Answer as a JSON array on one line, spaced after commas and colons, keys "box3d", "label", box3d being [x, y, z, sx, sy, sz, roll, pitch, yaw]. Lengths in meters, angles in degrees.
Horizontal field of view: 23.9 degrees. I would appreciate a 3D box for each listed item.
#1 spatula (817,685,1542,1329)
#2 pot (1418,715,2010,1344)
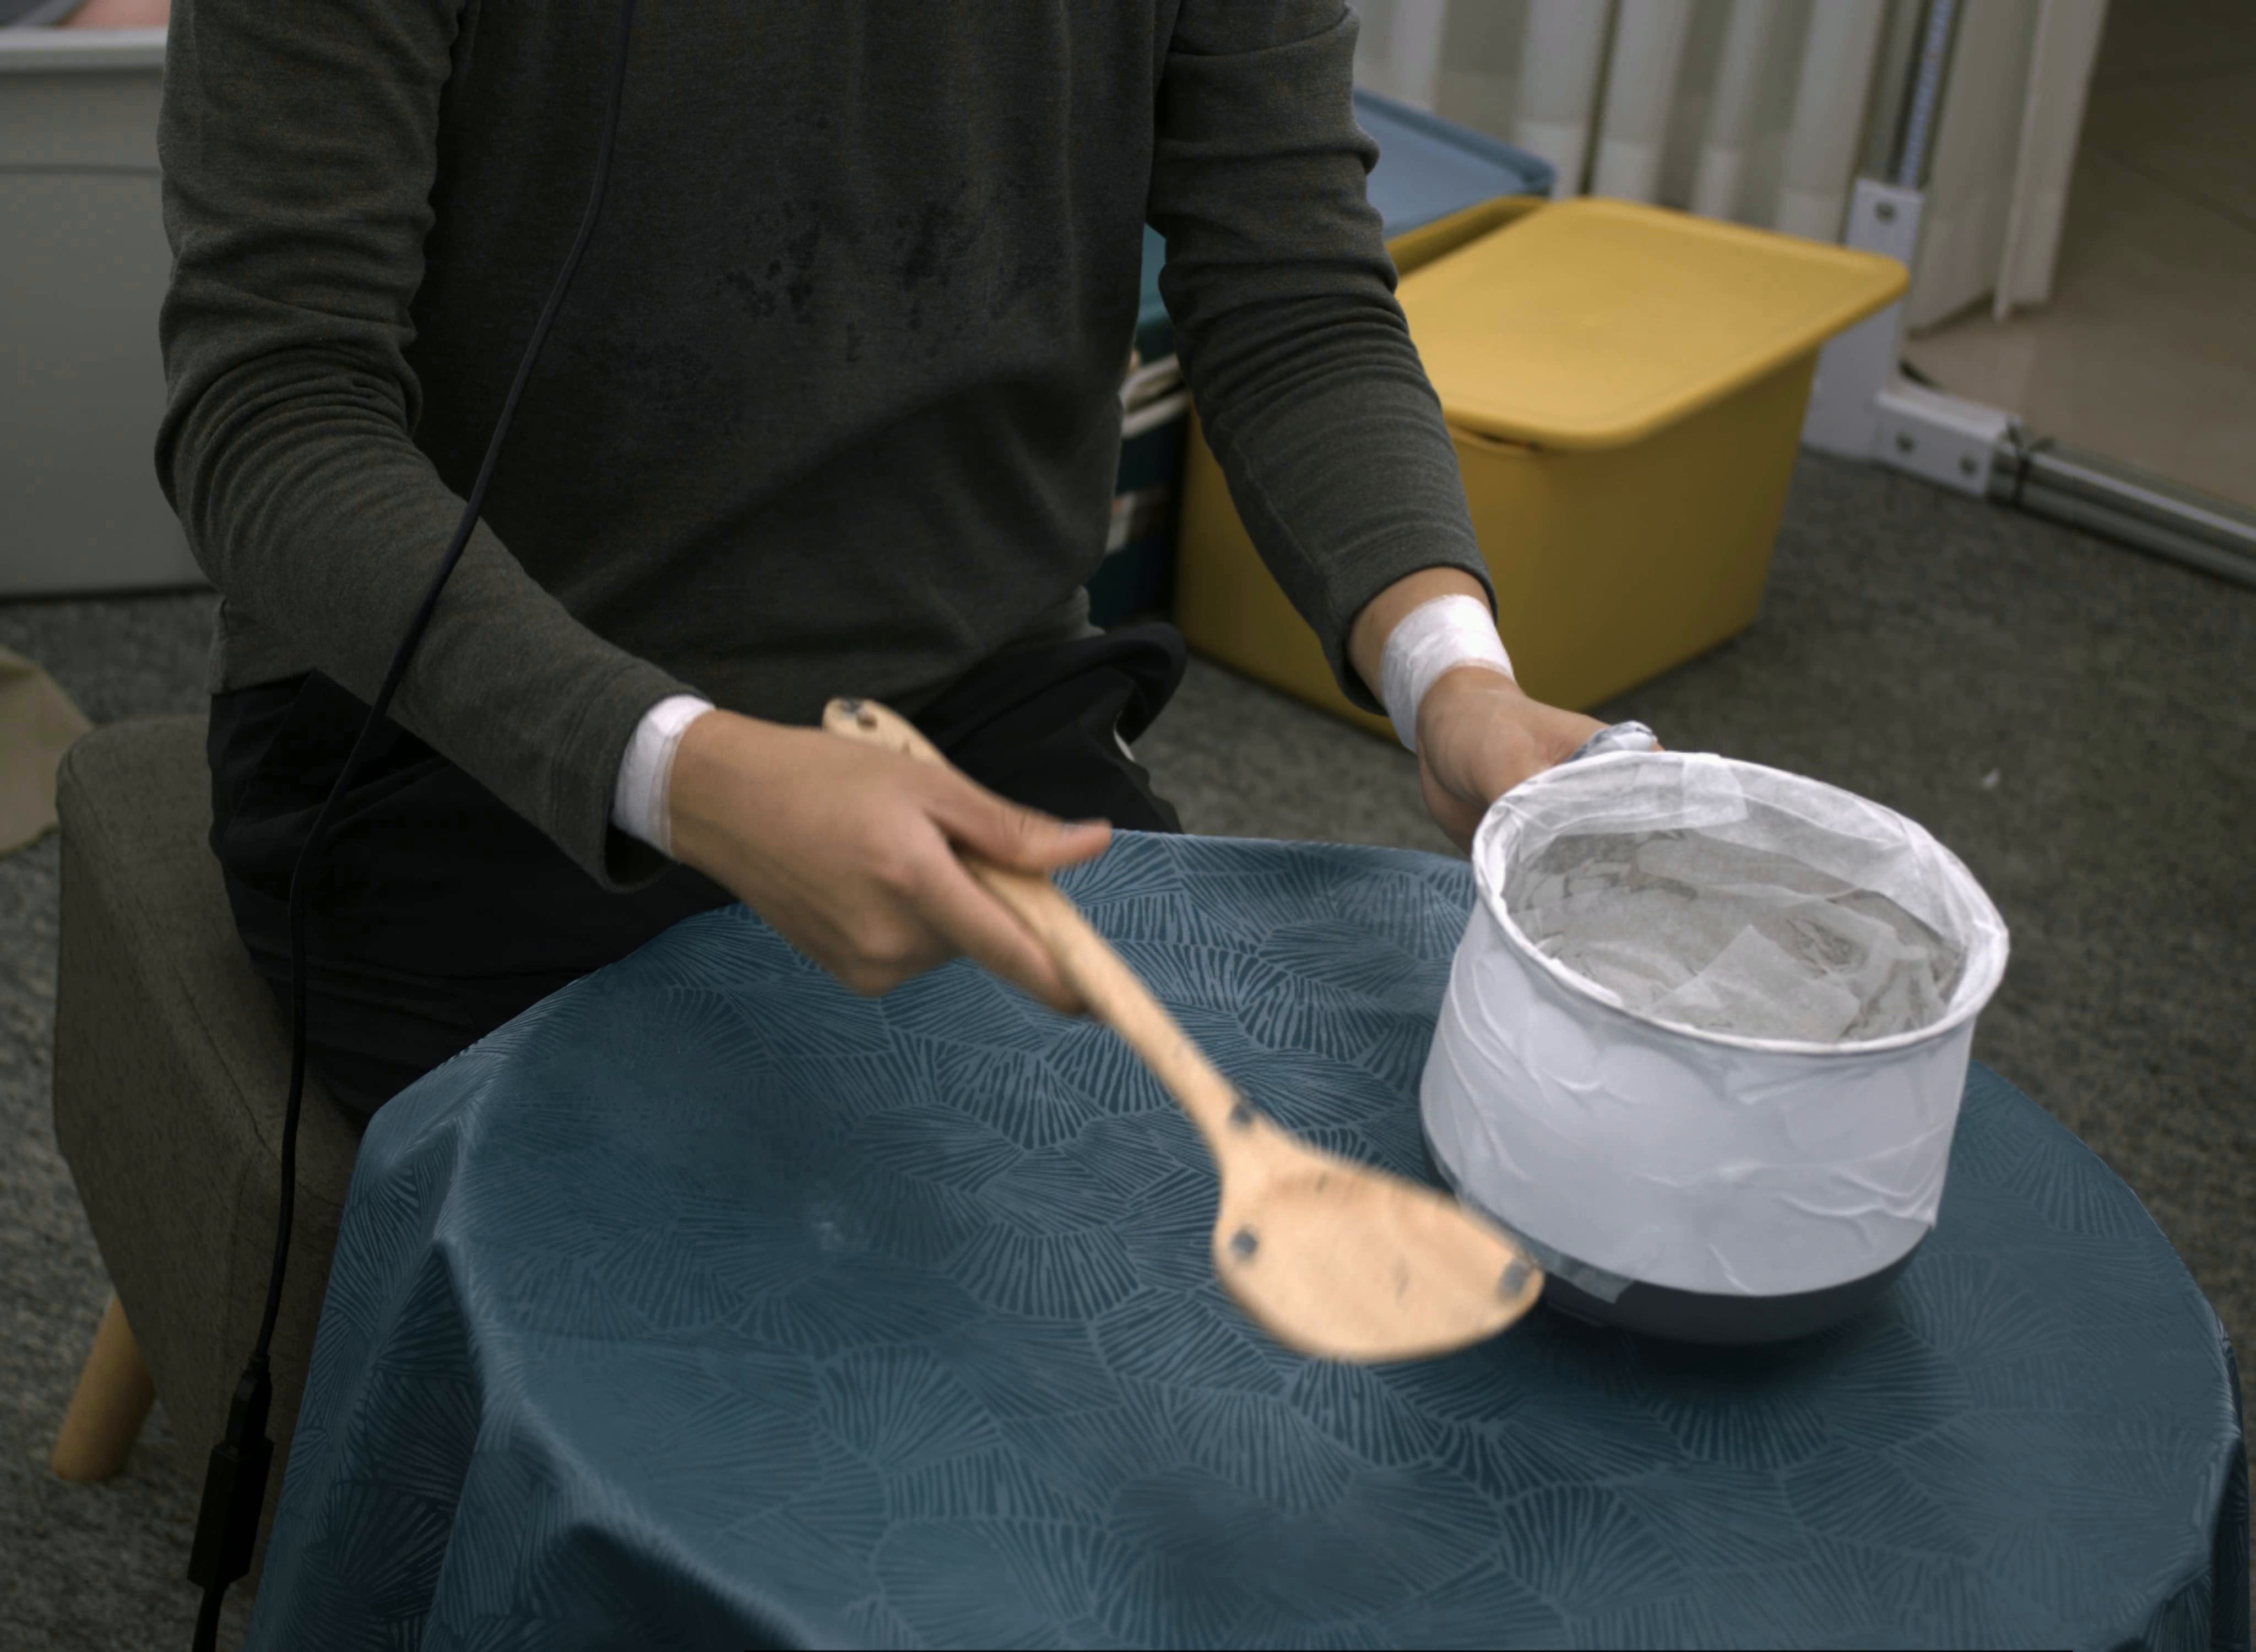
[{"box3d": [-0.005, 0.051, 1.704, 0.095, 0.018, 0.394, -10, 36, -31], "label": "spatula"}, {"box3d": [0.181, 0.059, 1.777, 0.177, 0.136, 0.236, -2, 33, -19], "label": "pot"}]
